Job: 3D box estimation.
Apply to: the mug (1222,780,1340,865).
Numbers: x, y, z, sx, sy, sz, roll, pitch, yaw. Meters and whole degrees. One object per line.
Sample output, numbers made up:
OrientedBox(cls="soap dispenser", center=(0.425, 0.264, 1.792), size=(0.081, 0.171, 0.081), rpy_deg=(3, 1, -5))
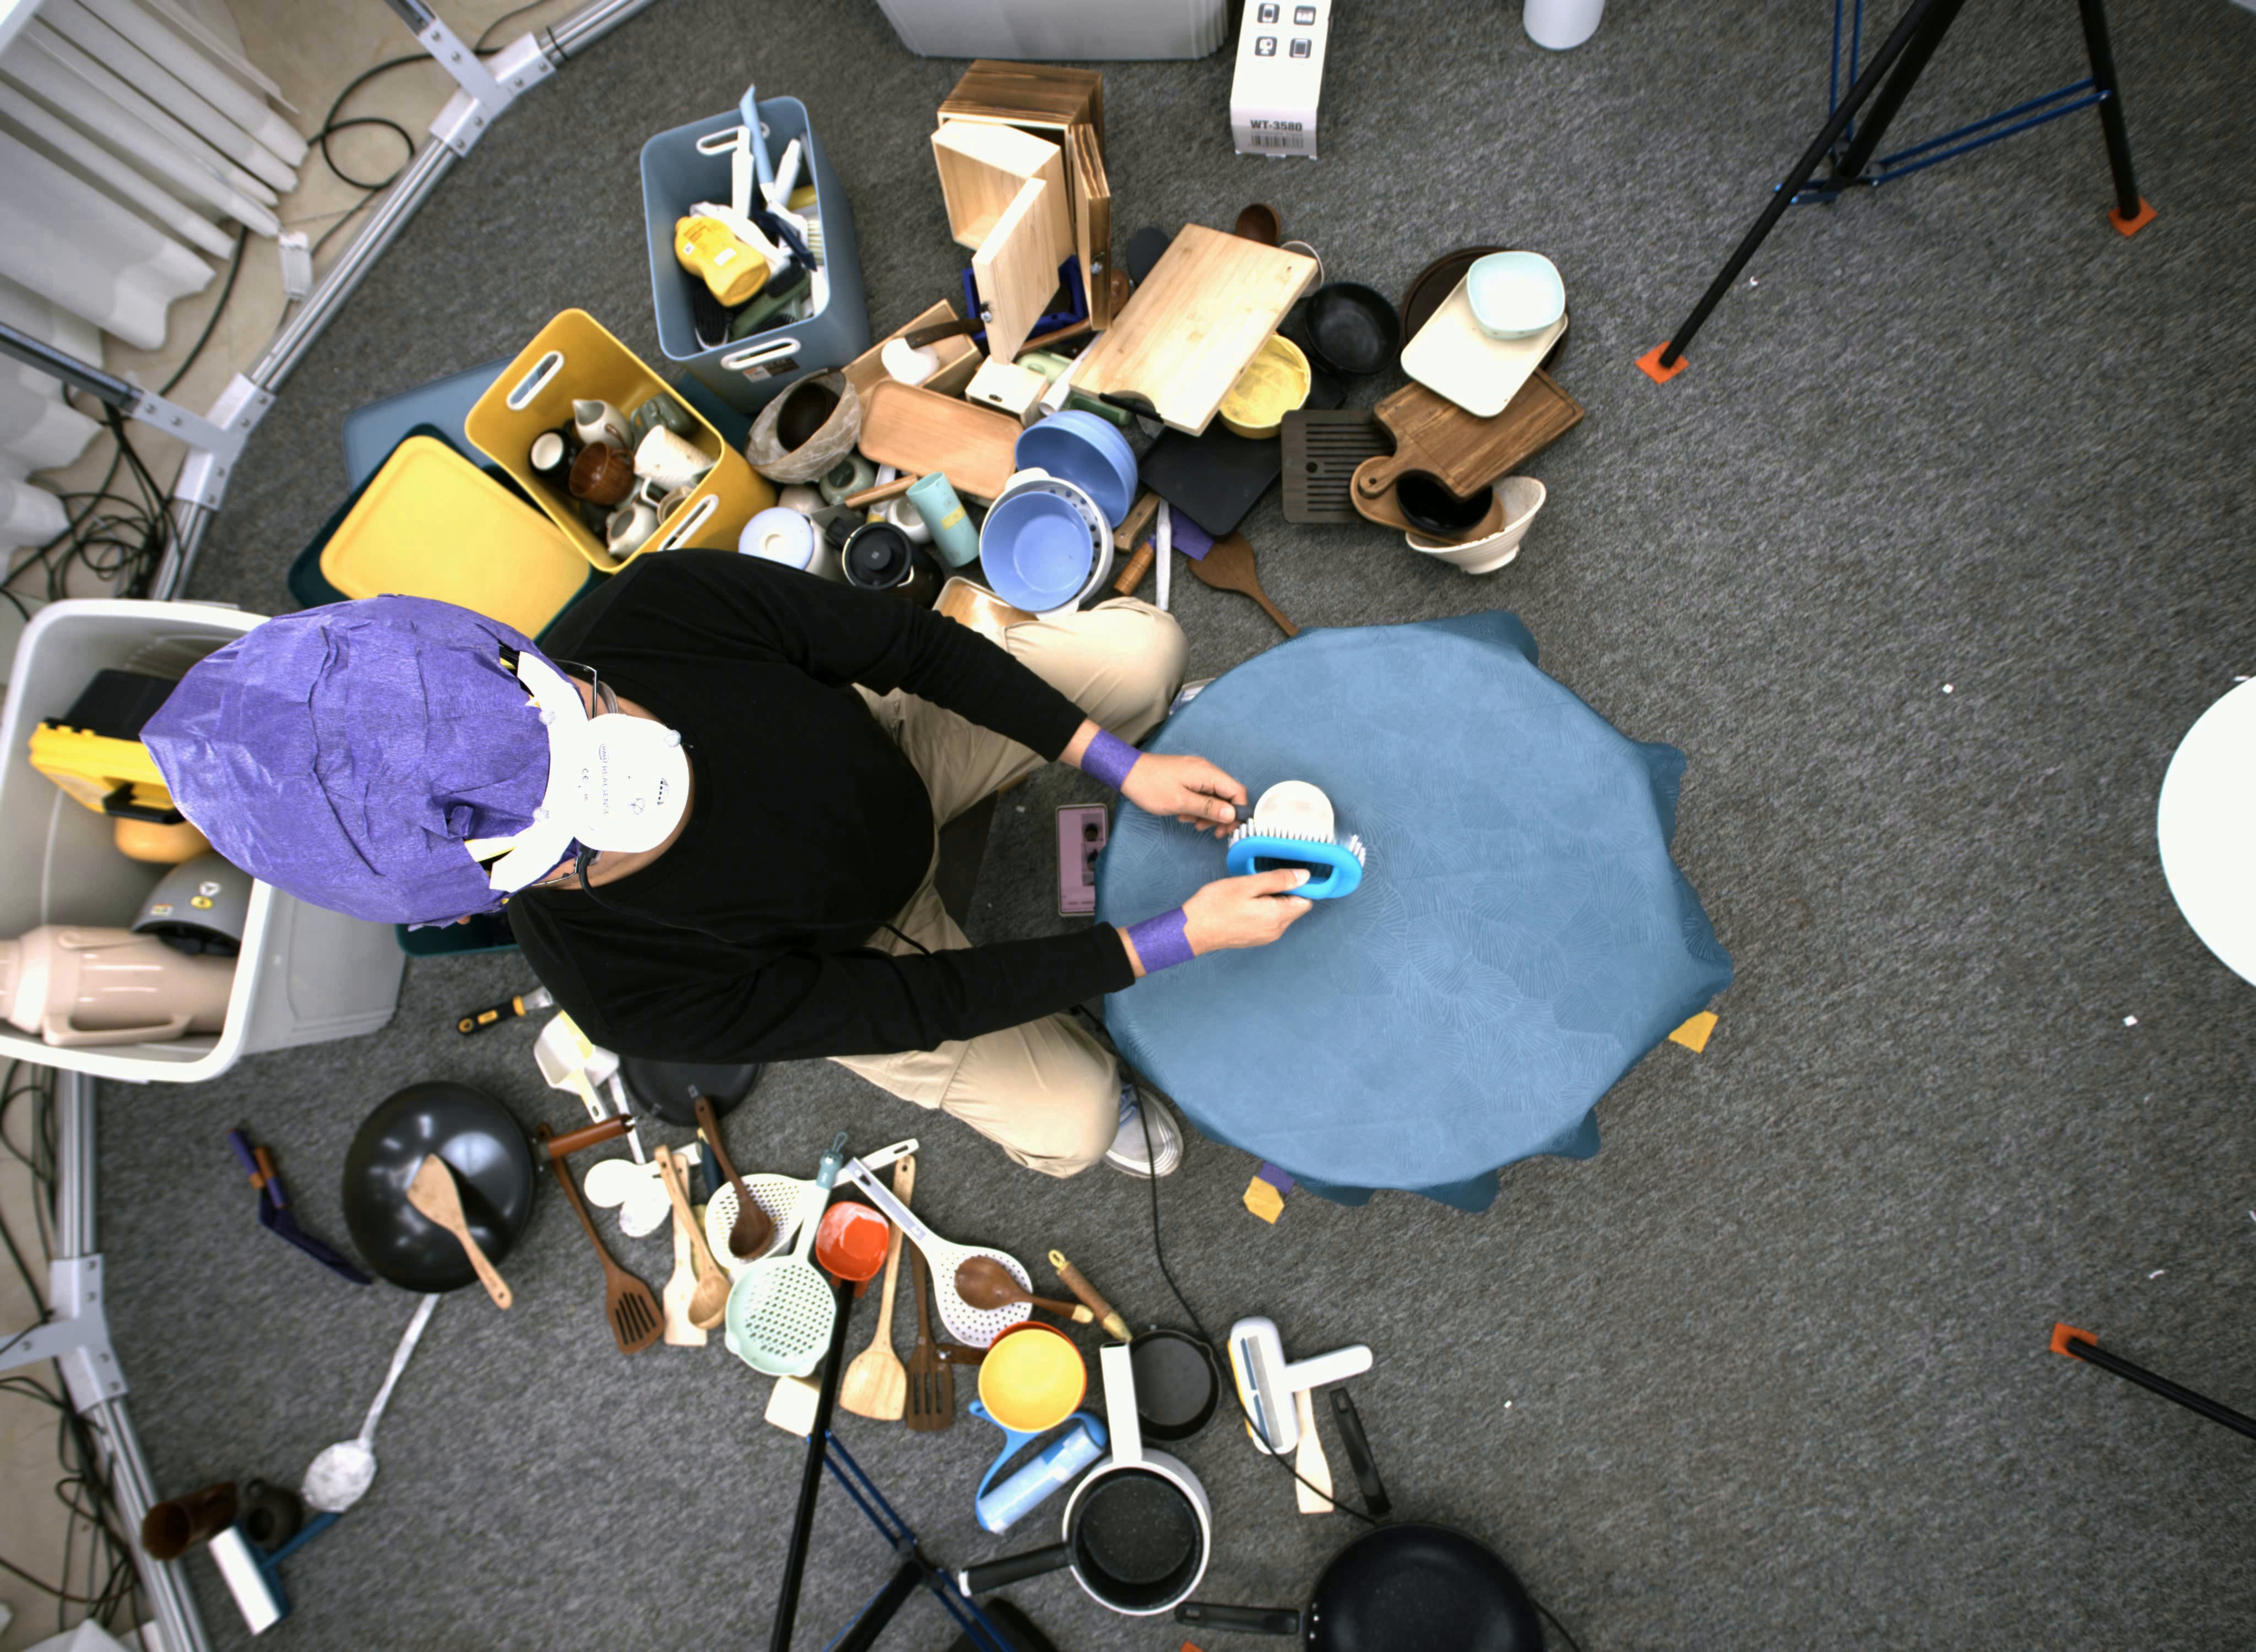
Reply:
OrientedBox(cls="mug", center=(0.159, -0.007, 1.436), size=(0.123, 0.090, 0.093), rpy_deg=(11, 87, 9))

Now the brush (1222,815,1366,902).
OrientedBox(cls="brush", center=(0.164, 0.041, 1.384), size=(0.142, 0.086, 0.062), rpy_deg=(8, 50, 9))
